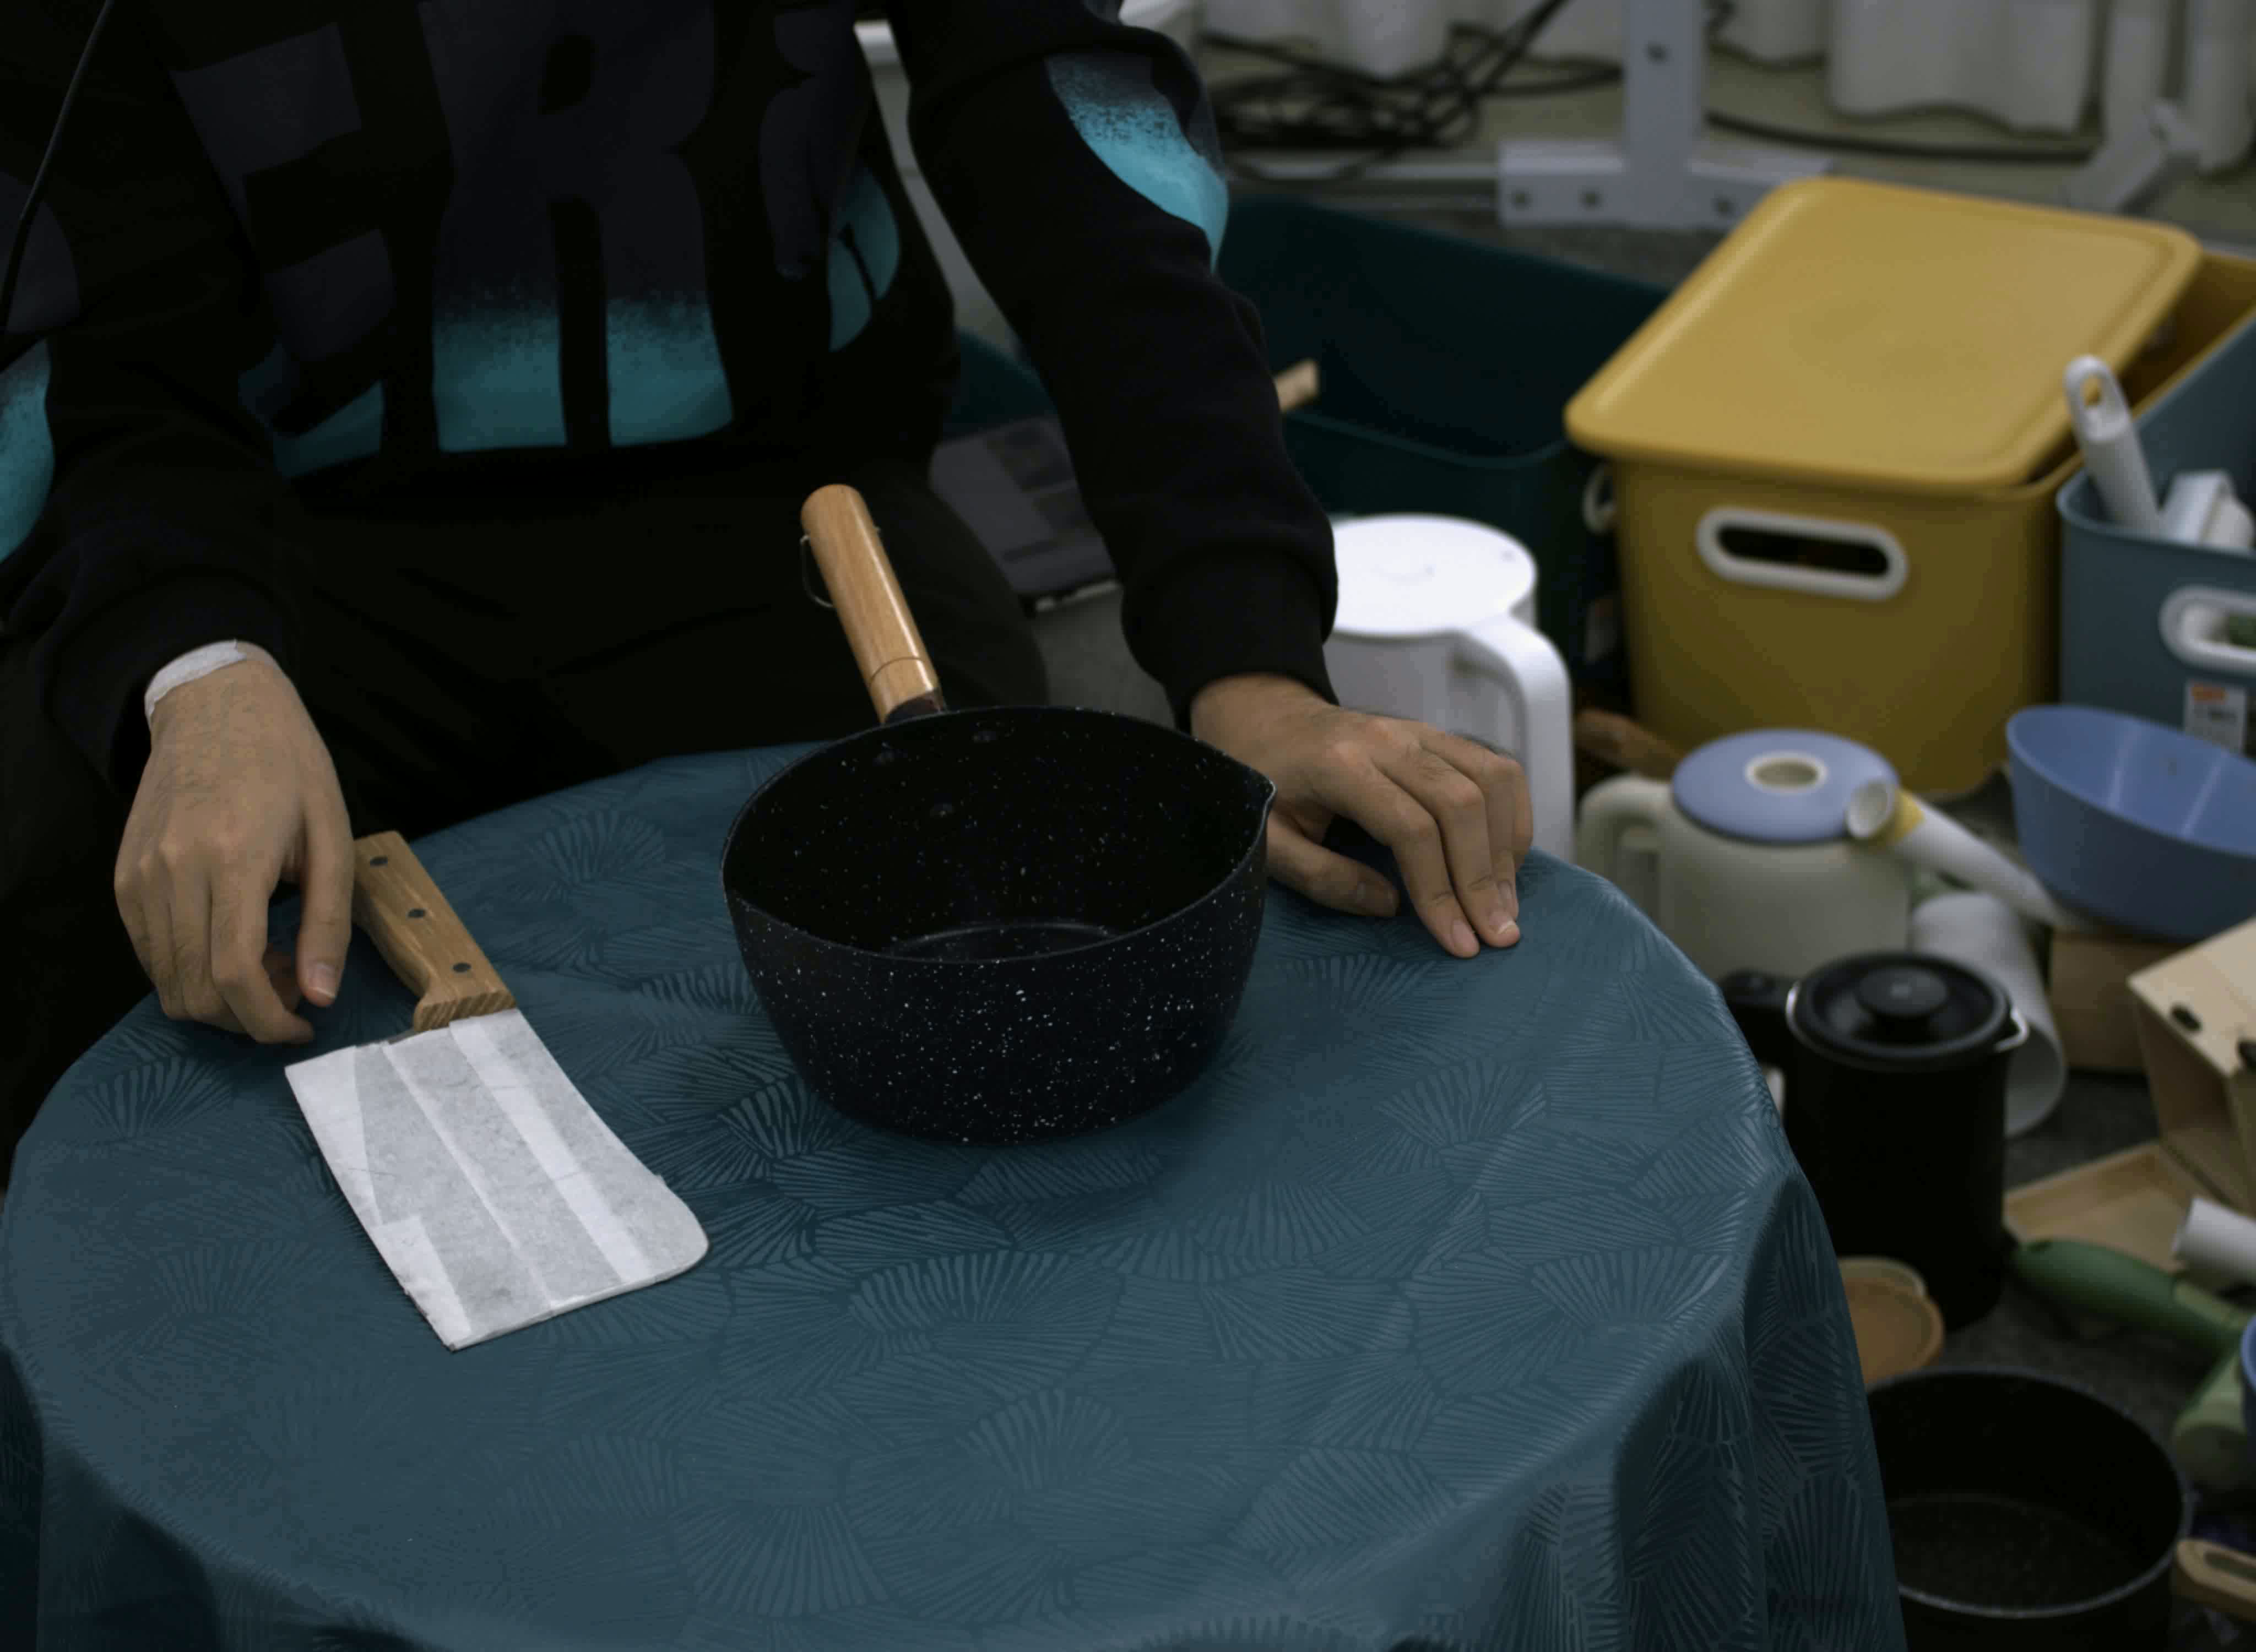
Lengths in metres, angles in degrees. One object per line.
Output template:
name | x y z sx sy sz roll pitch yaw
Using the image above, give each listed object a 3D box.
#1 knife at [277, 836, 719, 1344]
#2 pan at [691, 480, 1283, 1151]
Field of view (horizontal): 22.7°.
knife | -0.232 0.086 1.934 0.114 0.021 0.318 -13 32 -17
pan | -0.067 -0.007 2.000 0.207 0.107 0.346 -11 30 -14
